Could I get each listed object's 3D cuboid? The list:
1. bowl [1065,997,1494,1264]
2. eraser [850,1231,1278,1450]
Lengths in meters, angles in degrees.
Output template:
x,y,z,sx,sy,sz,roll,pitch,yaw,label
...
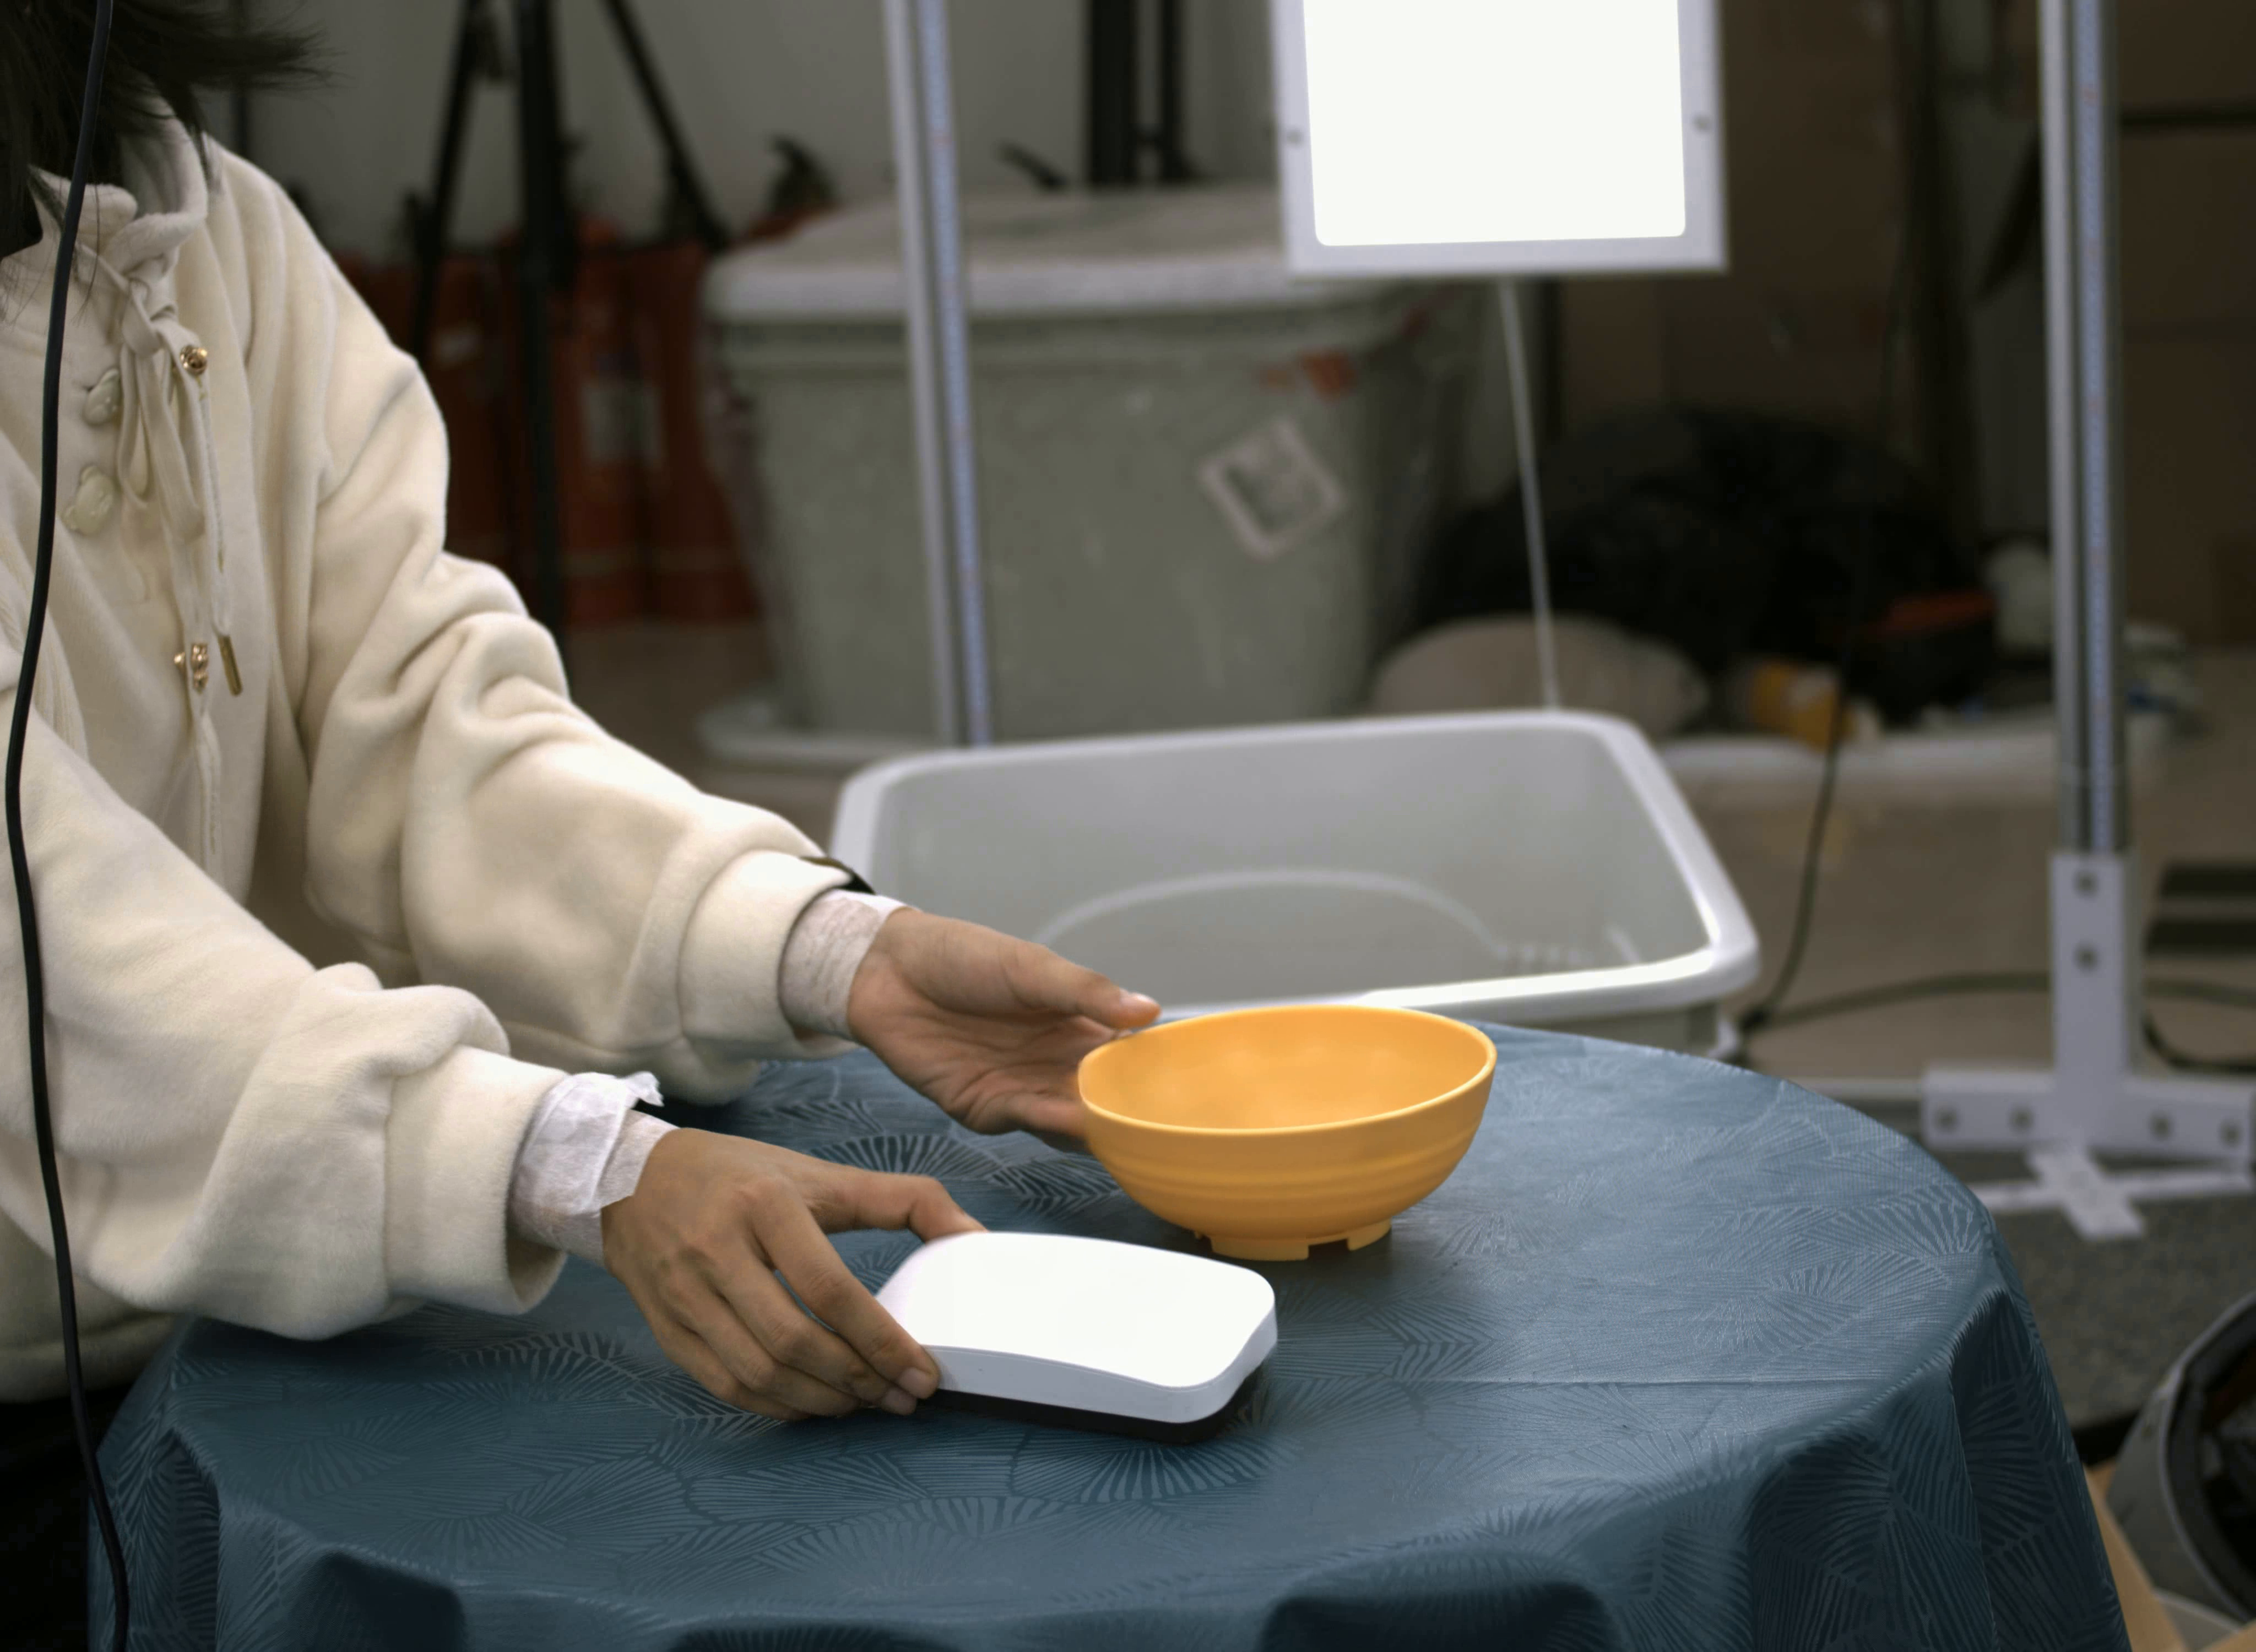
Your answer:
x,y,z,sx,sy,sz,roll,pitch,yaw,label
0.052,0.107,1.837,0.145,0.060,0.145,-4,16,0,bowl
-0.019,0.157,1.690,0.134,0.034,0.062,5,30,31,eraser
